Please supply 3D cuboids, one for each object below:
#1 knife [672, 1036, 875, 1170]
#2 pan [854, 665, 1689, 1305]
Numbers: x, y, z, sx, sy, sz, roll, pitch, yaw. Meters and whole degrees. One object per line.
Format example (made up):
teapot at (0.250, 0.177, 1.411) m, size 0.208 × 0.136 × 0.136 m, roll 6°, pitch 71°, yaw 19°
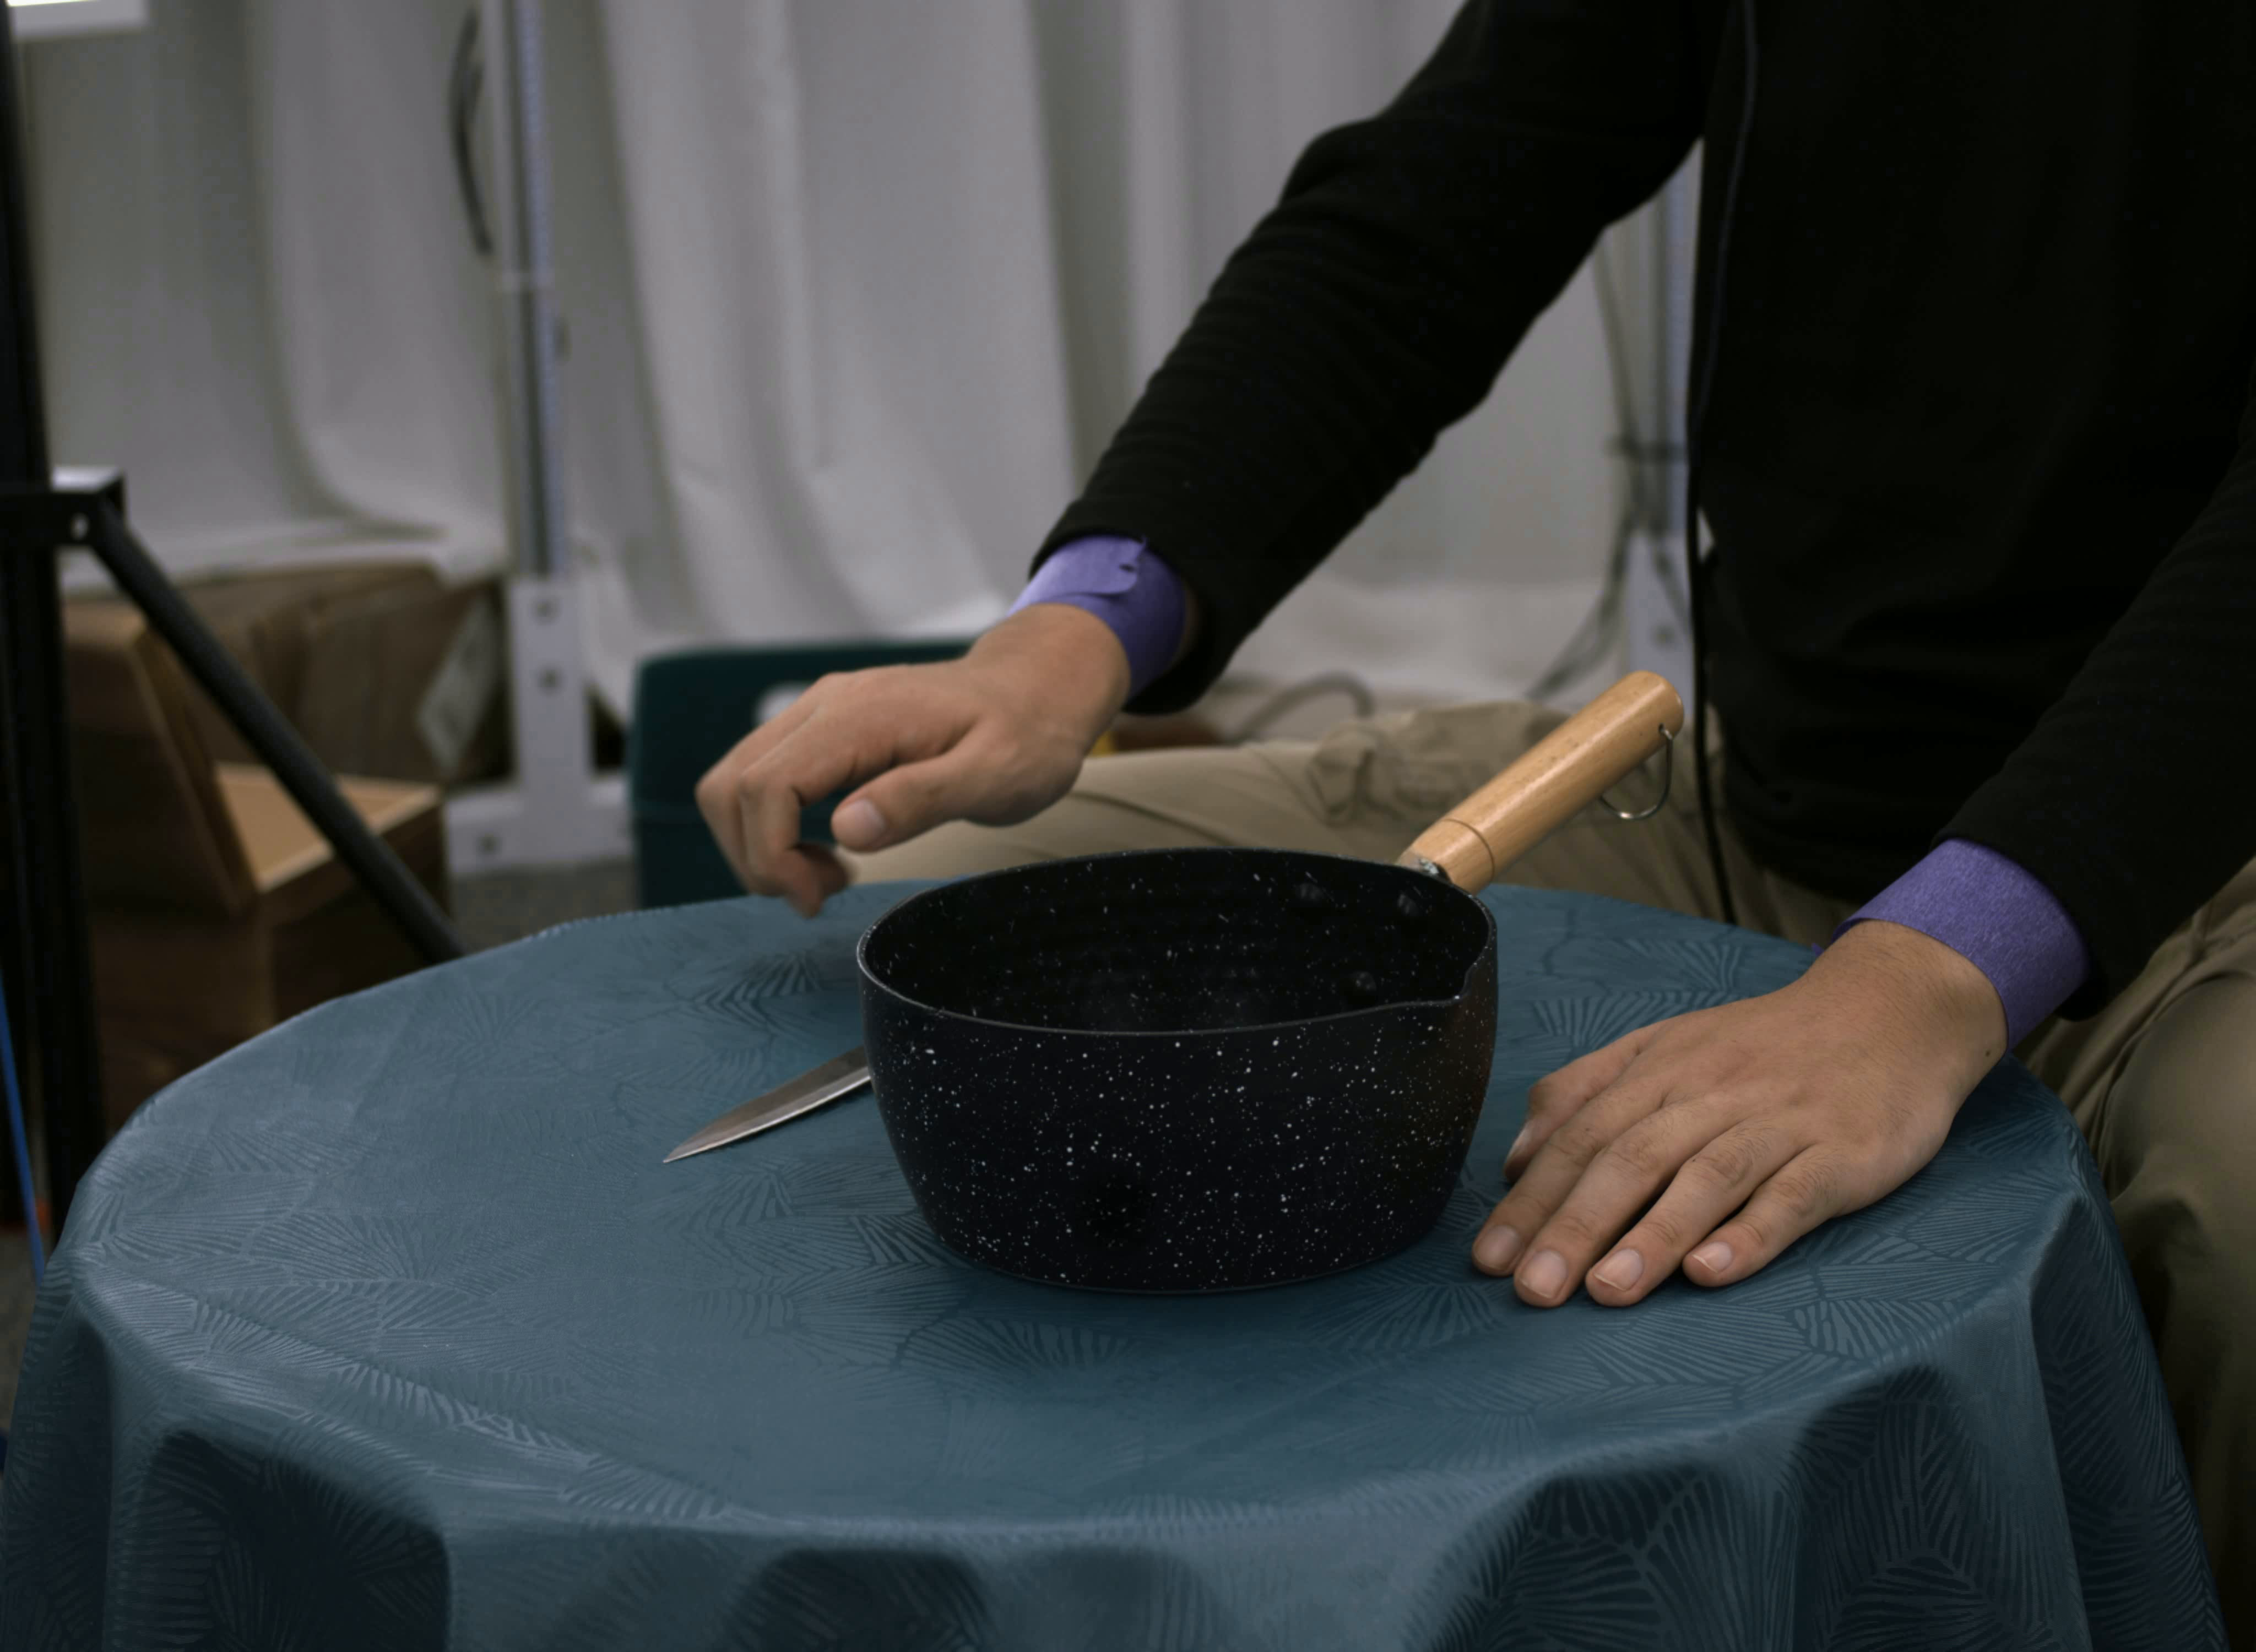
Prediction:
knife at (-0.069, 0.068, 1.688) m, size 0.025 × 0.016 × 0.233 m, roll 12°, pitch 24°, yaw 35°
pan at (0.063, 0.043, 1.583) m, size 0.212 × 0.108 × 0.335 m, roll 10°, pitch 21°, yaw 38°
